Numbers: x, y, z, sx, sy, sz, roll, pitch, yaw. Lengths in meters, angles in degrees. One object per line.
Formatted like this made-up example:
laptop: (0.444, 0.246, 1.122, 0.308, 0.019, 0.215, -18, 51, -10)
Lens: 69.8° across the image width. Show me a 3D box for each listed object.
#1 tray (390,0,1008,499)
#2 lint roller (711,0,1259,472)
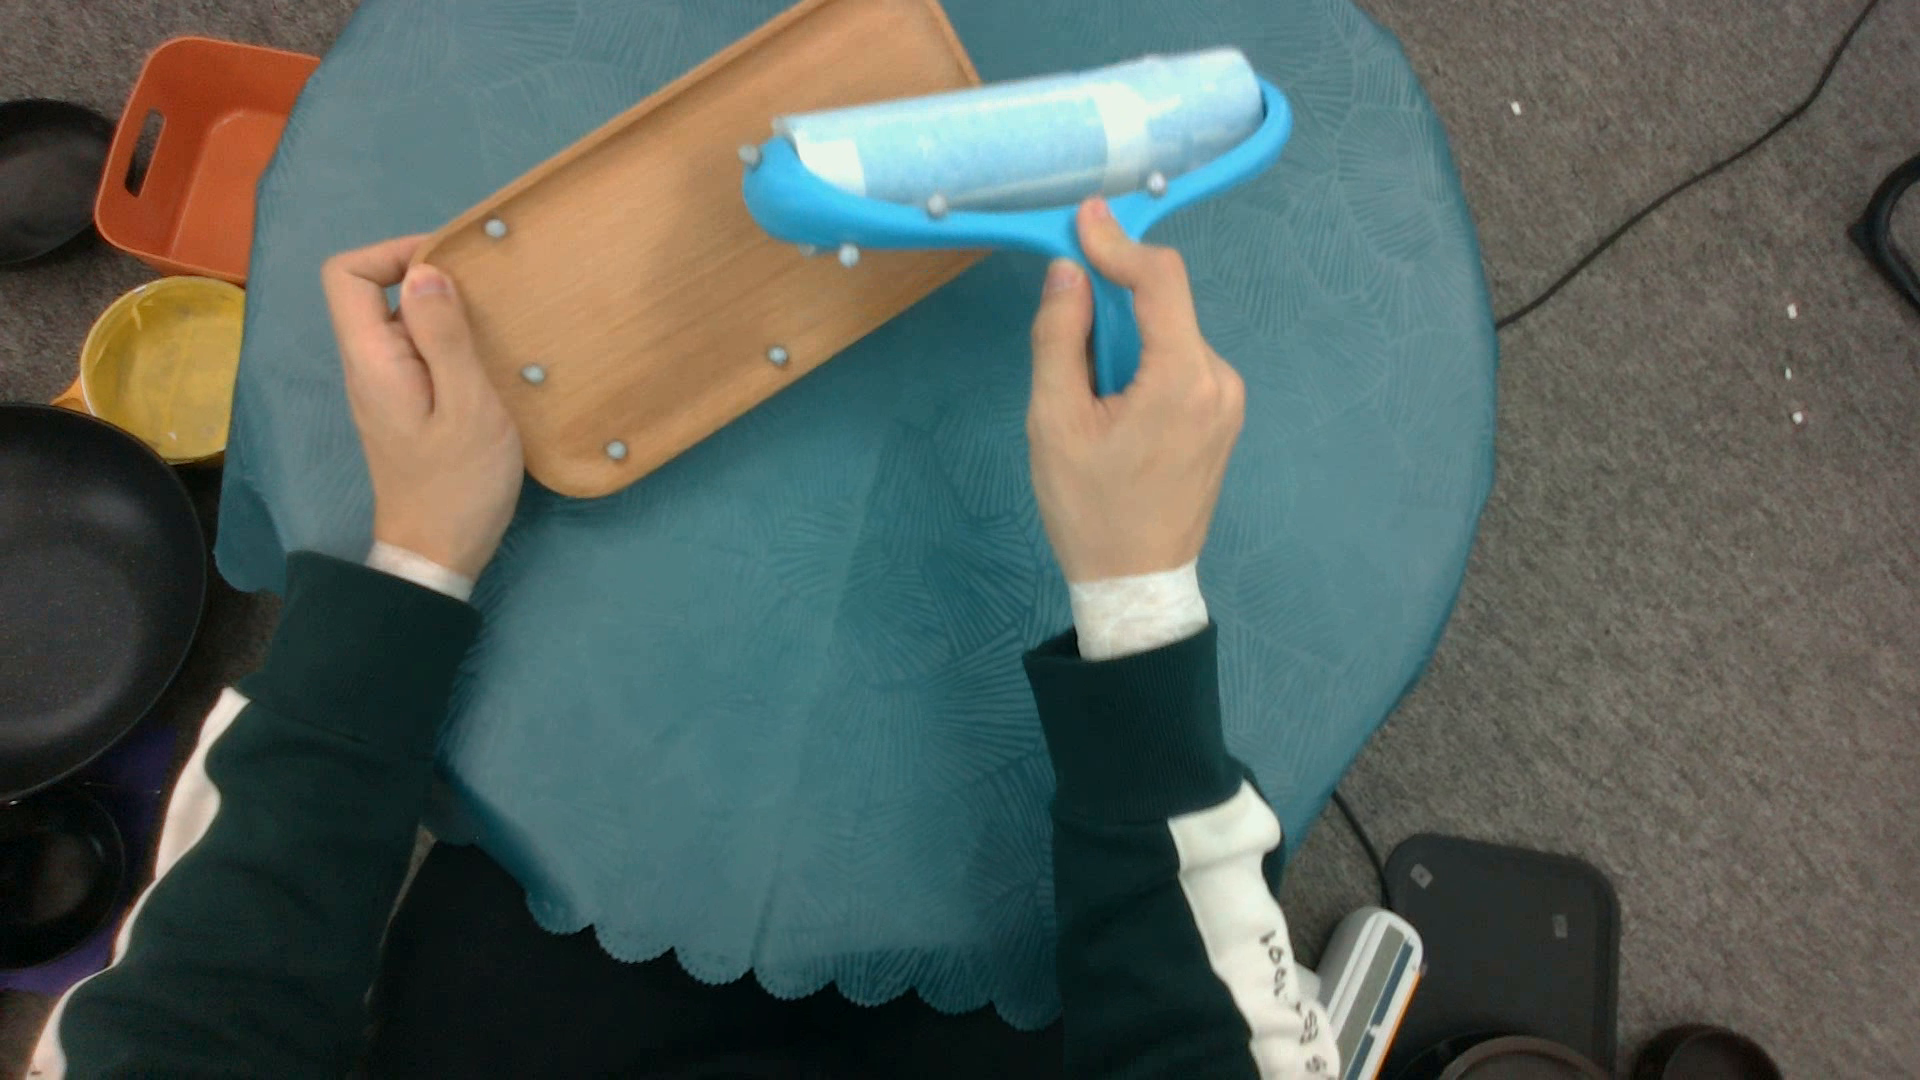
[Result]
tray: (-0.103, -0.128, 0.579, 0.251, 0.023, 0.130, -34, 115, -5)
lint roller: (0.036, -0.119, 0.535, 0.229, 0.067, 0.180, -19, 76, -19)
